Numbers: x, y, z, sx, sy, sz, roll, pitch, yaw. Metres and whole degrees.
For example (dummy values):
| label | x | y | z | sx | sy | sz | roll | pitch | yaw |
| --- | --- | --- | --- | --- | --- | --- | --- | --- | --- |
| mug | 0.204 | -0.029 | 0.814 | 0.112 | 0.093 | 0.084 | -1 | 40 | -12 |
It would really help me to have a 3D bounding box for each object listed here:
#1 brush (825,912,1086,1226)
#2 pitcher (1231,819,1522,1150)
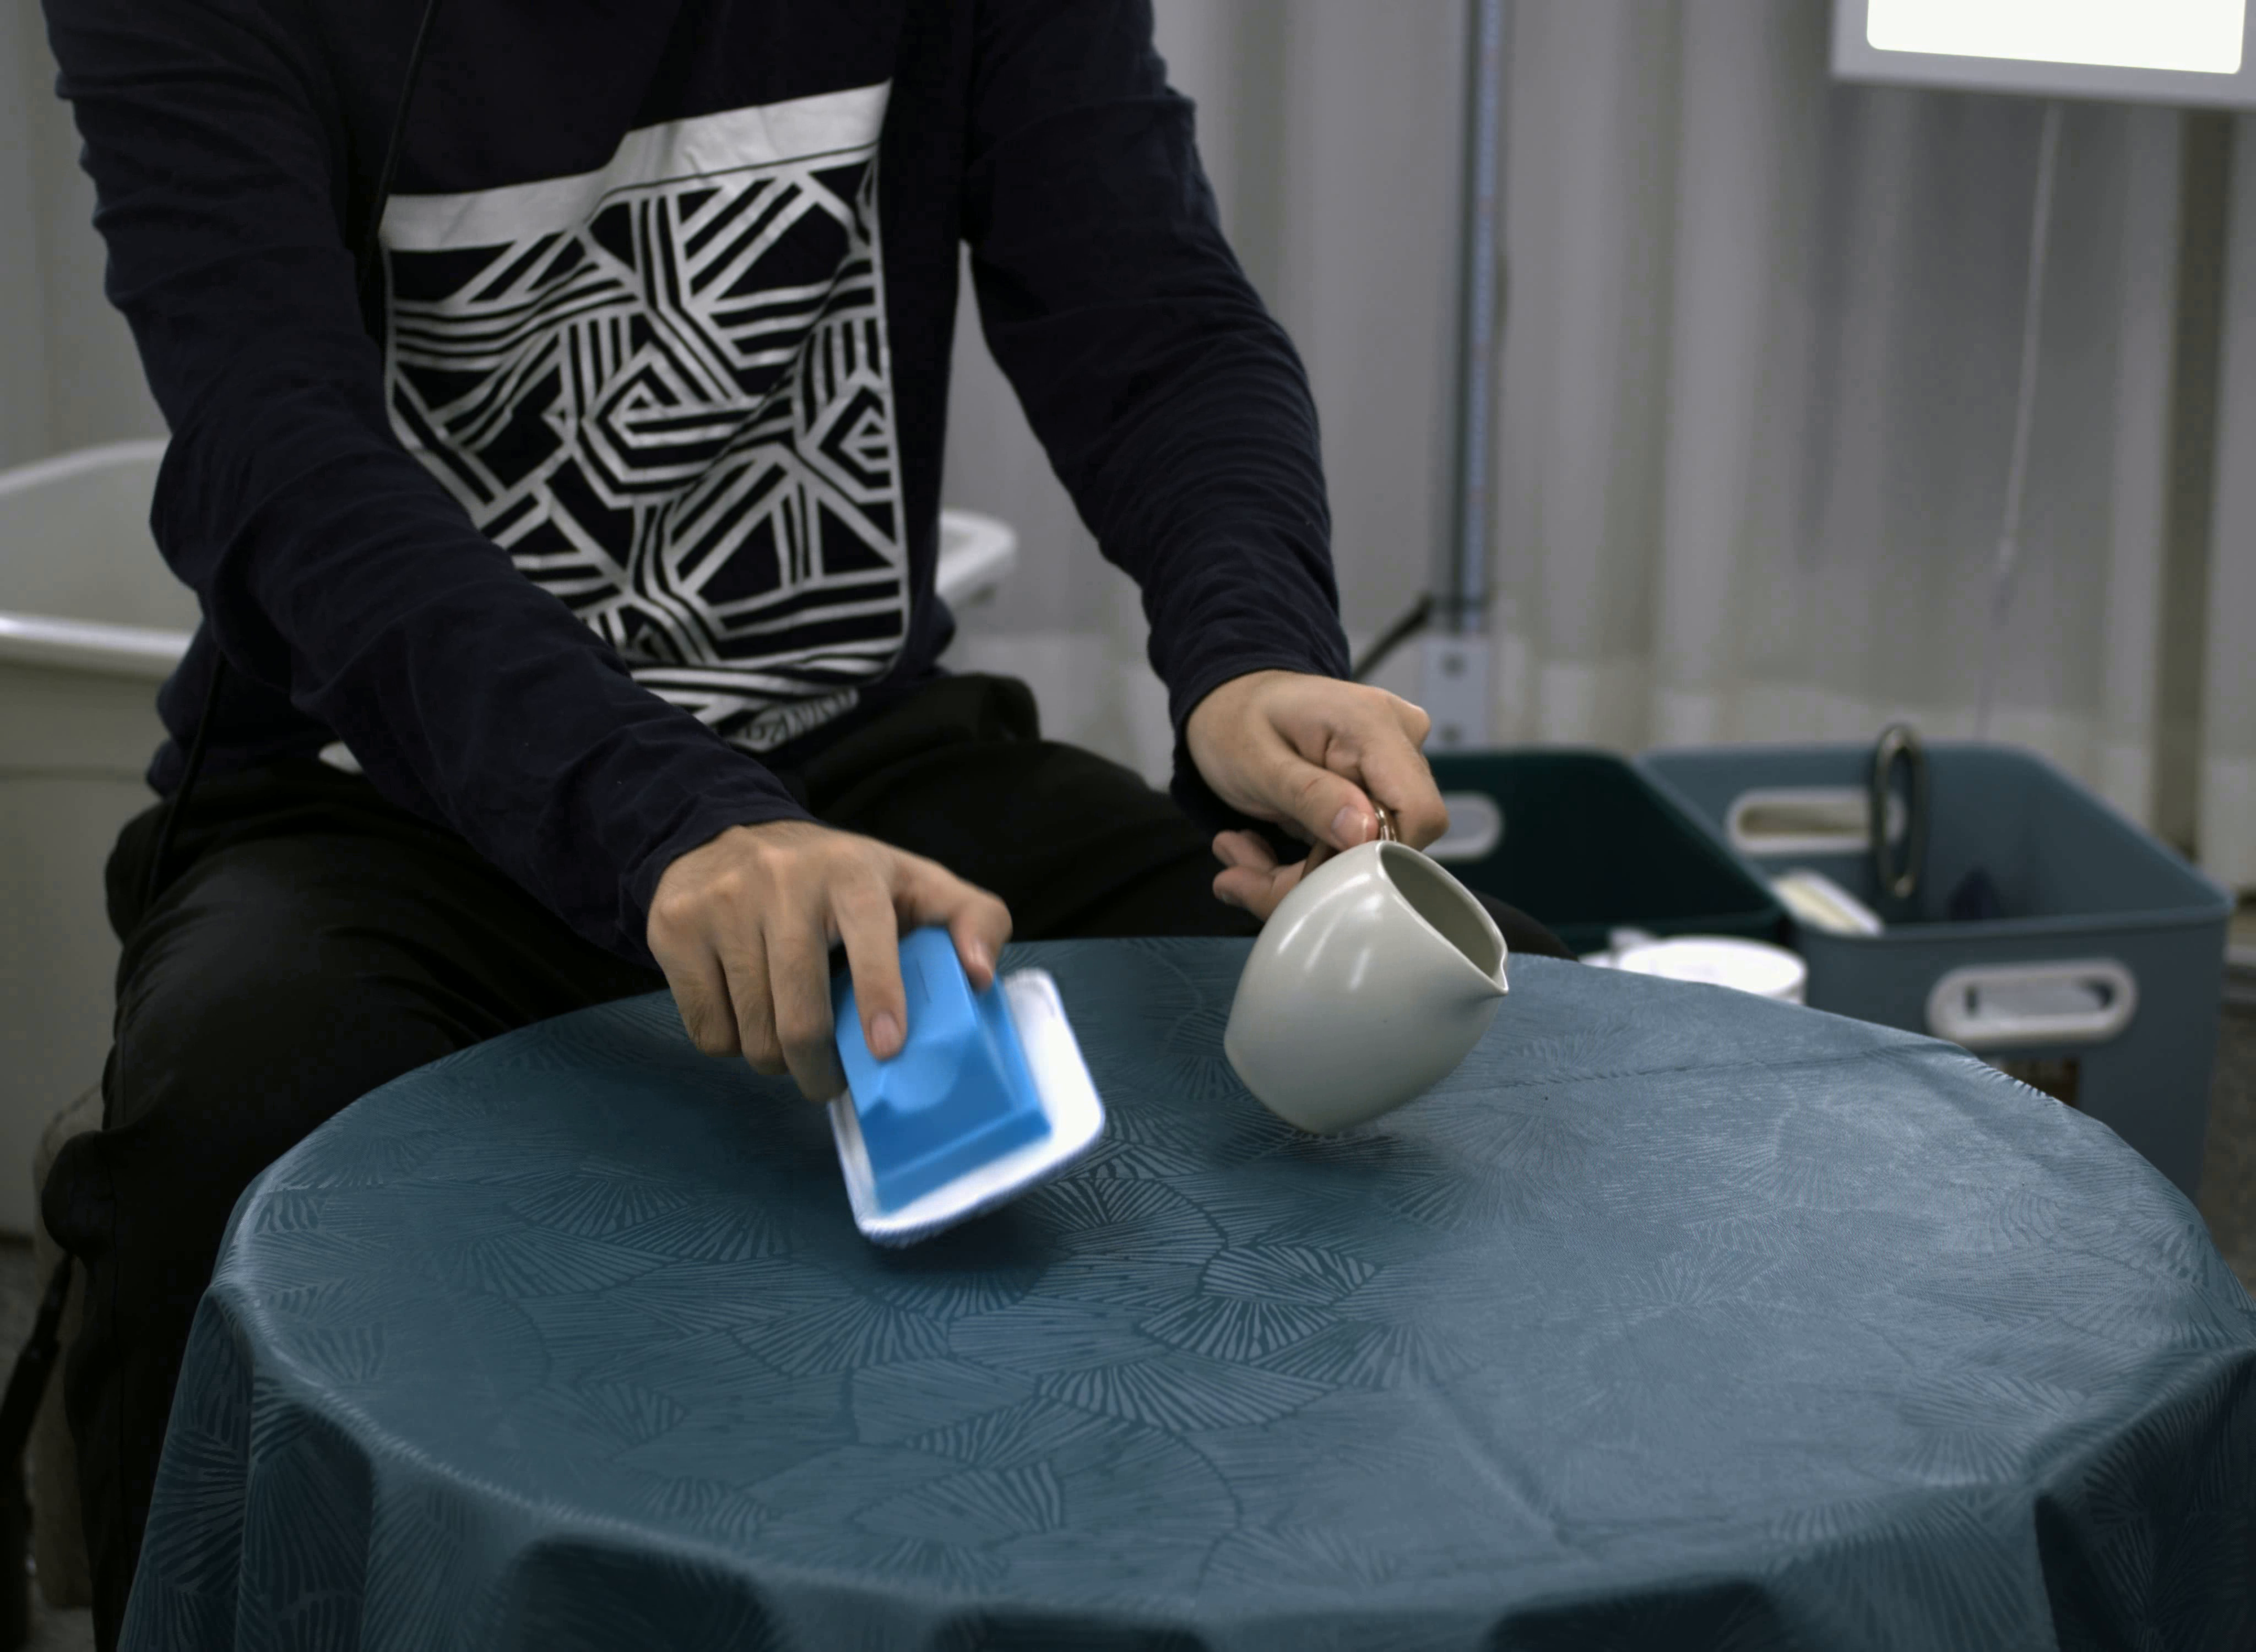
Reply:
| label | x | y | z | sx | sy | sz | roll | pitch | yaw |
| --- | --- | --- | --- | --- | --- | --- | --- | --- | --- |
| brush | -0.059 | 0.070 | 1.608 | 0.083 | 0.056 | 0.143 | -24 | 20 | 4 |
| pitcher | 0.076 | 0.052 | 1.653 | 0.076 | 0.088 | 0.118 | 32 | 27 | -31 |
